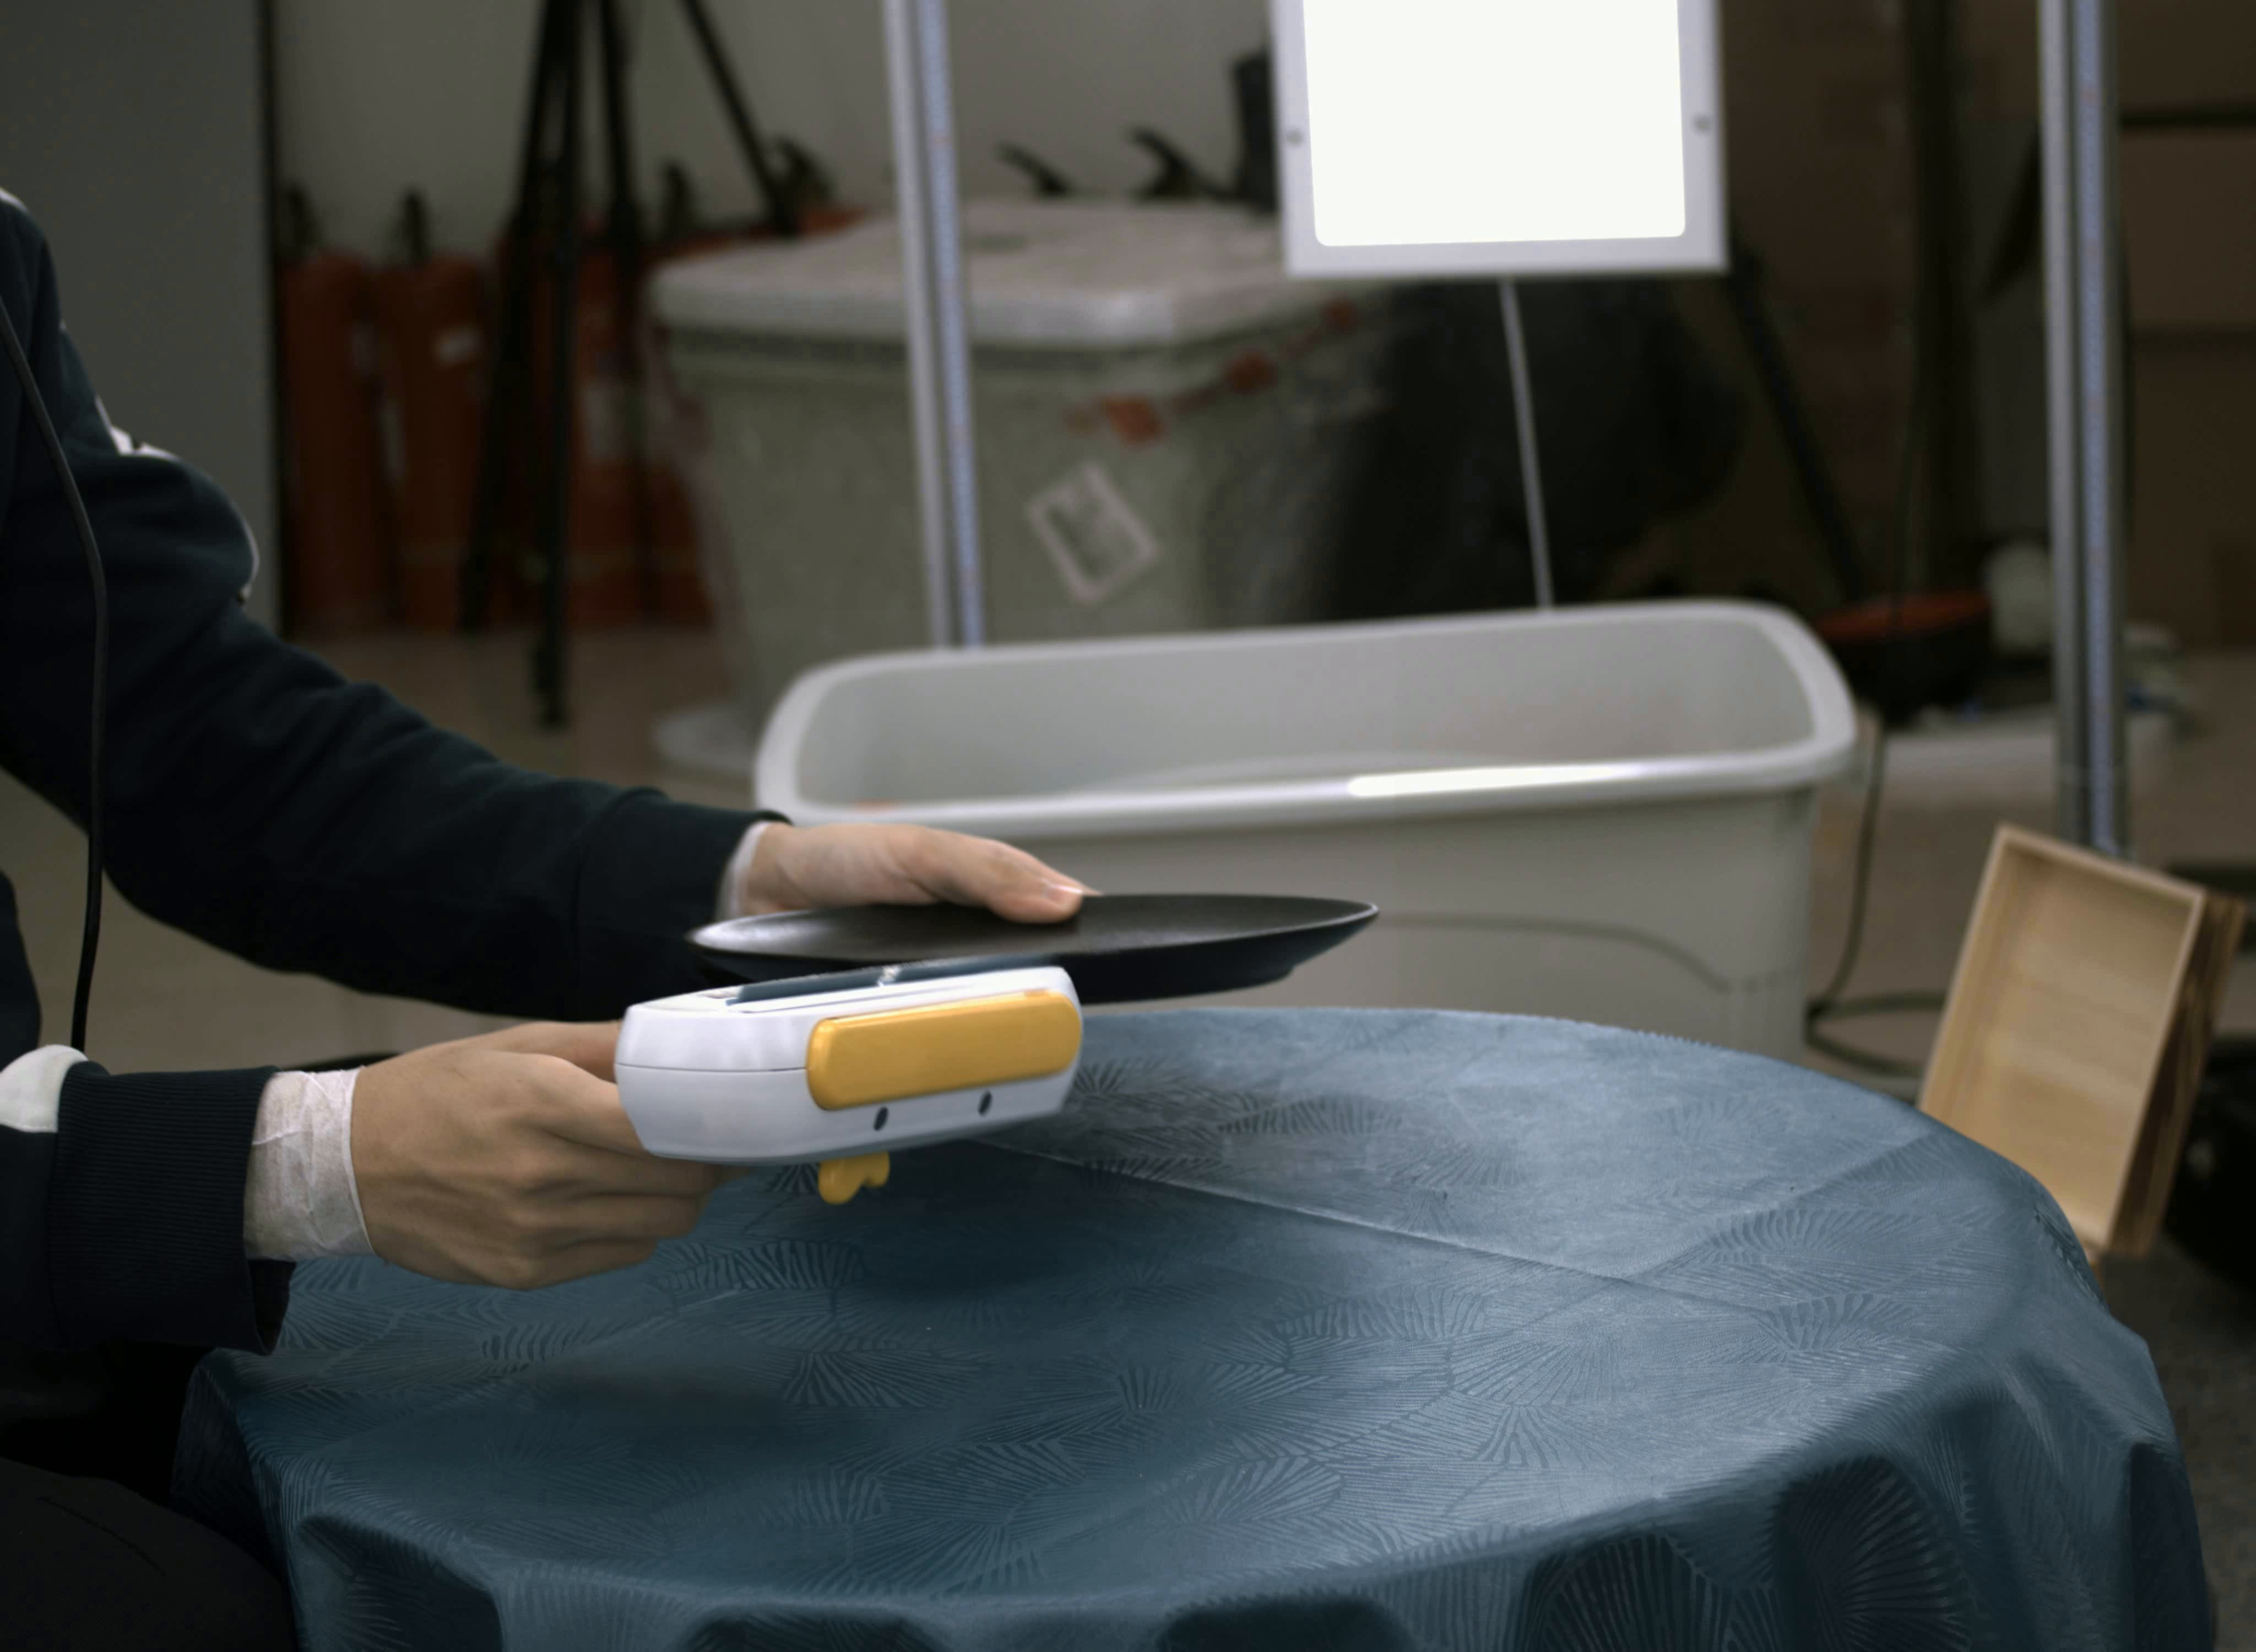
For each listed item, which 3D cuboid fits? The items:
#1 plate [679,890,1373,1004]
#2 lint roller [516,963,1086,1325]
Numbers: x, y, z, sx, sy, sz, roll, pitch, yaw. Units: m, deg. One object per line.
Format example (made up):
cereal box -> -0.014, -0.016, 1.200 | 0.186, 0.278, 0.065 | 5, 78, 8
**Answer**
plate -> -0.035, 0.043, 1.916 | 0.243, 0.023, 0.244 | -3, 4, -1
lint roller -> -0.127, 0.102, 1.717 | 0.197, 0.074, 0.188 | -25, -8, 38
